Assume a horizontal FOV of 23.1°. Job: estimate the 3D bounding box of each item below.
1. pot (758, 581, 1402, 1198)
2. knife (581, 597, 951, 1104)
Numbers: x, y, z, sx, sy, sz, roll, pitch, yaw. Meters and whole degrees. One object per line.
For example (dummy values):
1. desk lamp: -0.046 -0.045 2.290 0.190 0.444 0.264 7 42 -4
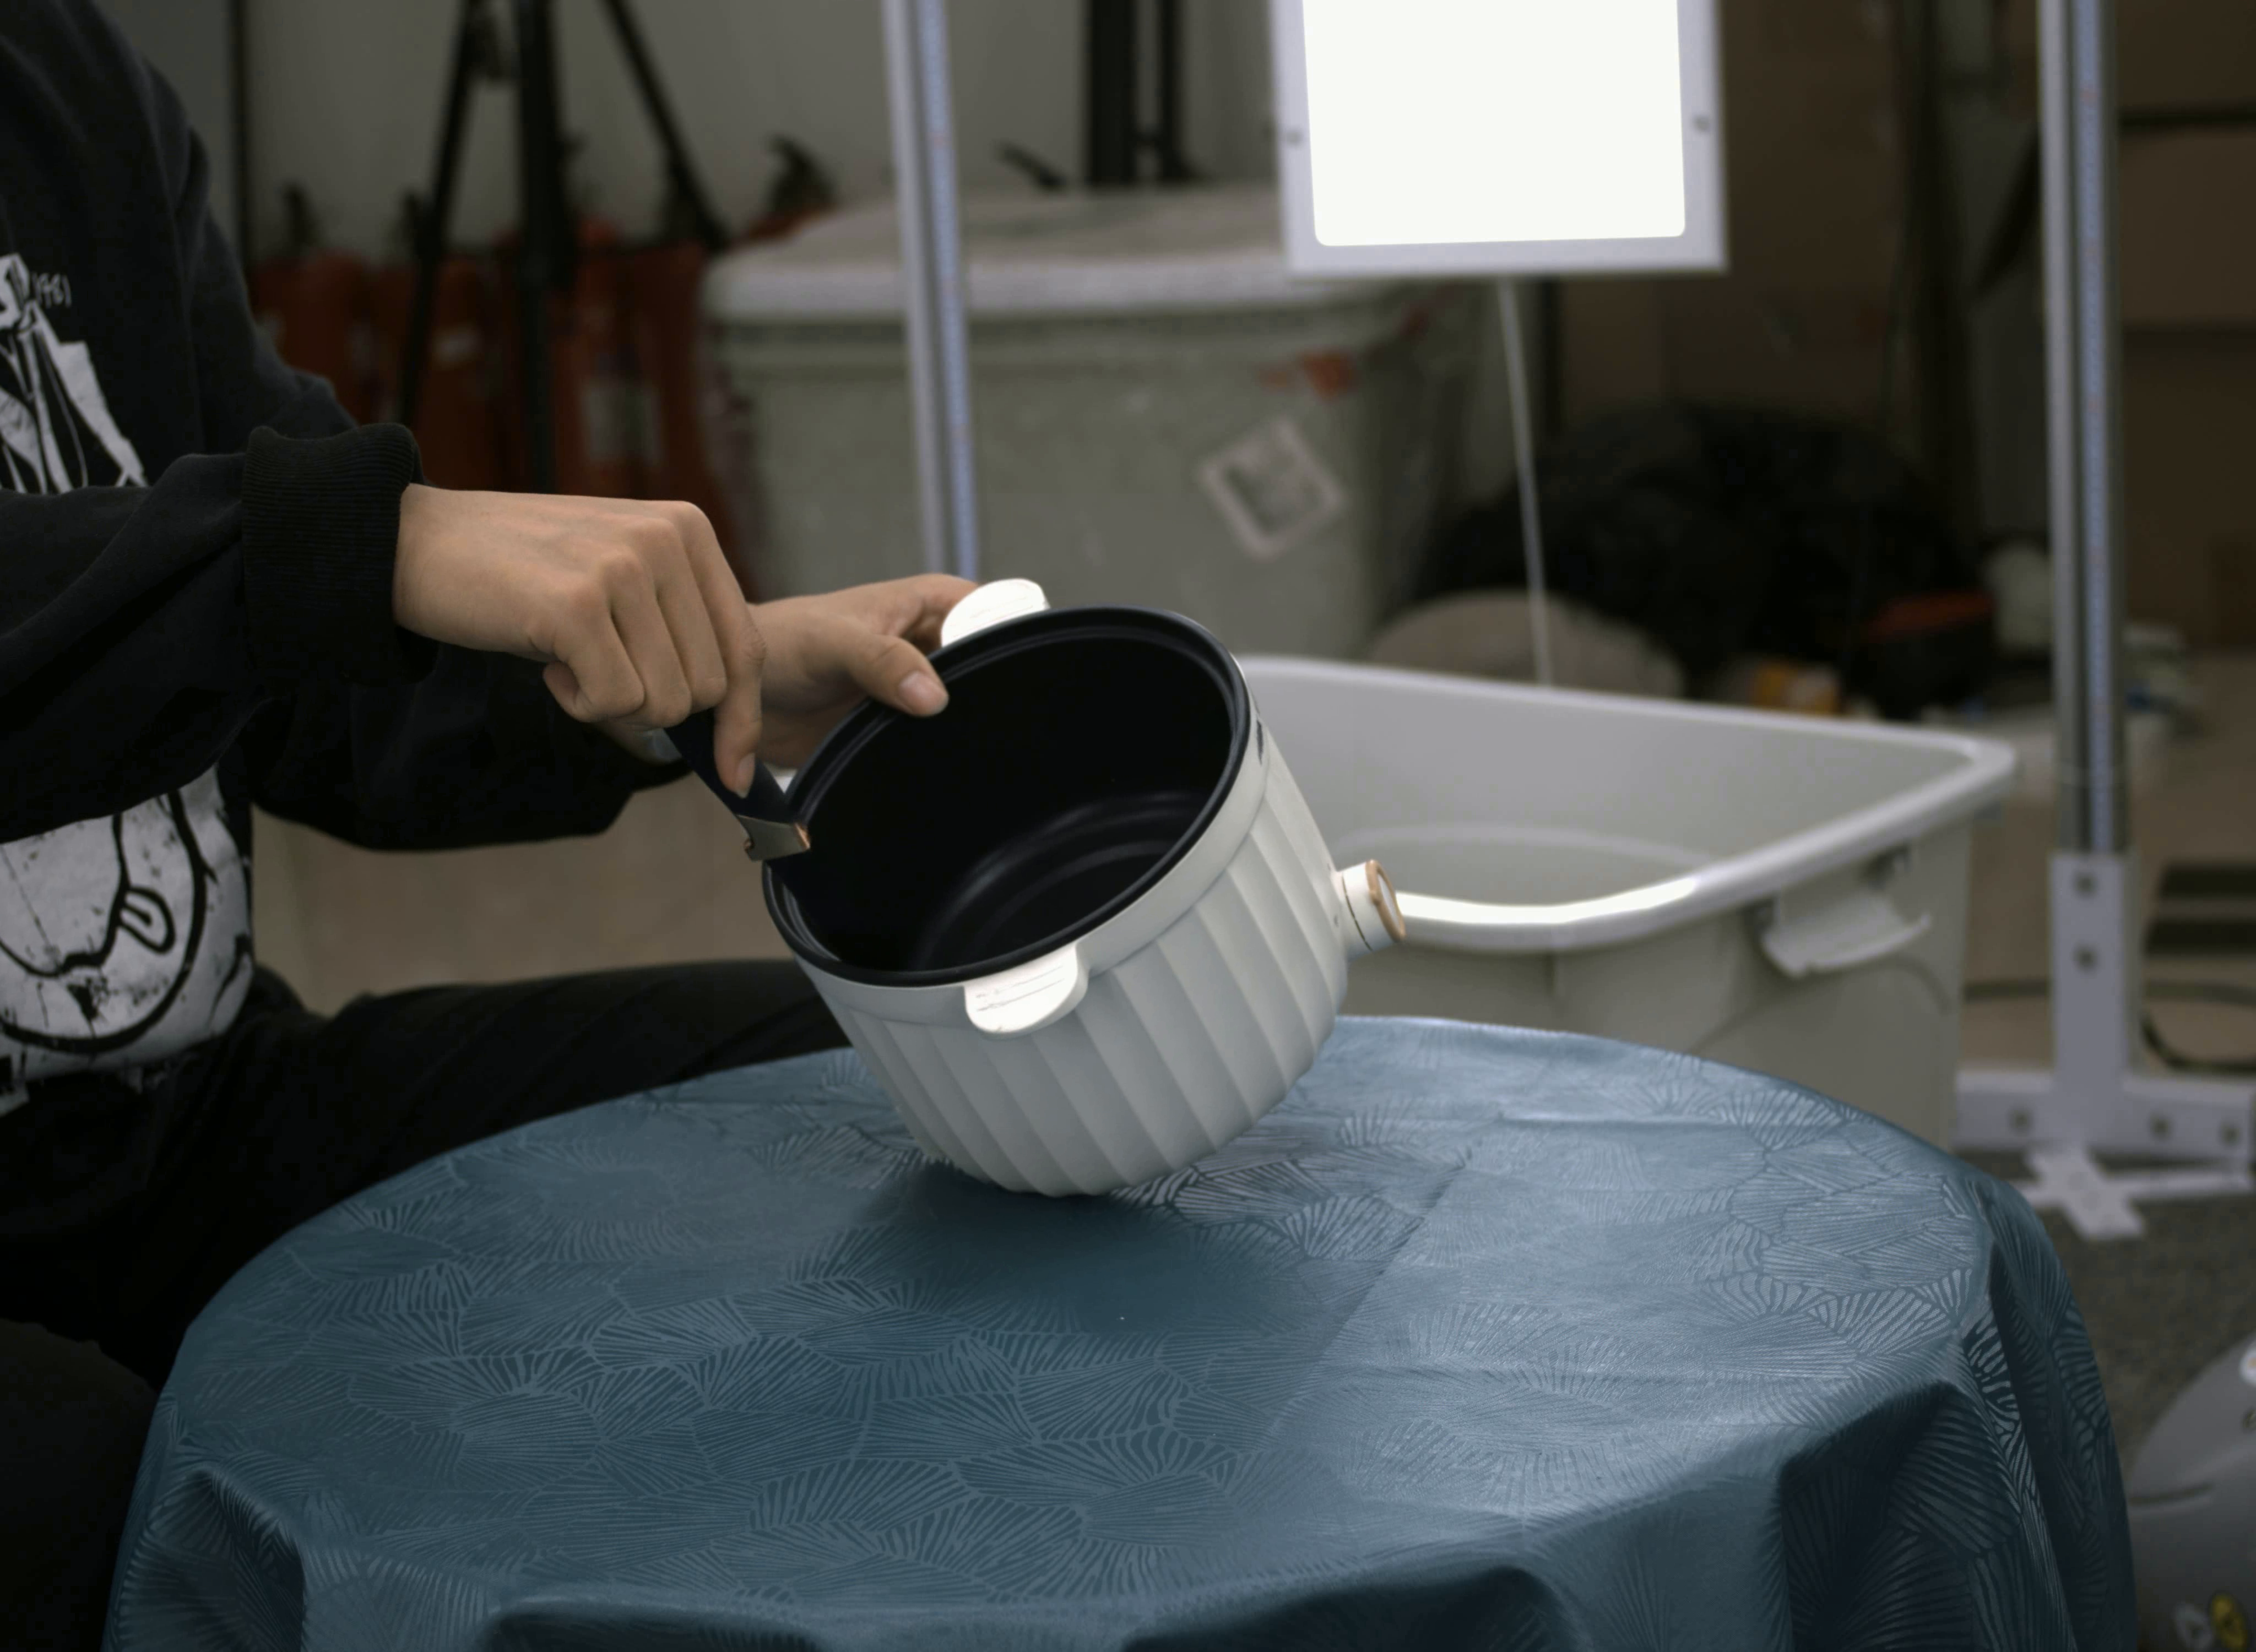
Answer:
1. pot: -0.013 0.030 1.907 0.192 0.141 0.240 -24 38 14
2. knife: -0.114 0.011 1.825 0.027 0.224 0.017 -20 30 28
